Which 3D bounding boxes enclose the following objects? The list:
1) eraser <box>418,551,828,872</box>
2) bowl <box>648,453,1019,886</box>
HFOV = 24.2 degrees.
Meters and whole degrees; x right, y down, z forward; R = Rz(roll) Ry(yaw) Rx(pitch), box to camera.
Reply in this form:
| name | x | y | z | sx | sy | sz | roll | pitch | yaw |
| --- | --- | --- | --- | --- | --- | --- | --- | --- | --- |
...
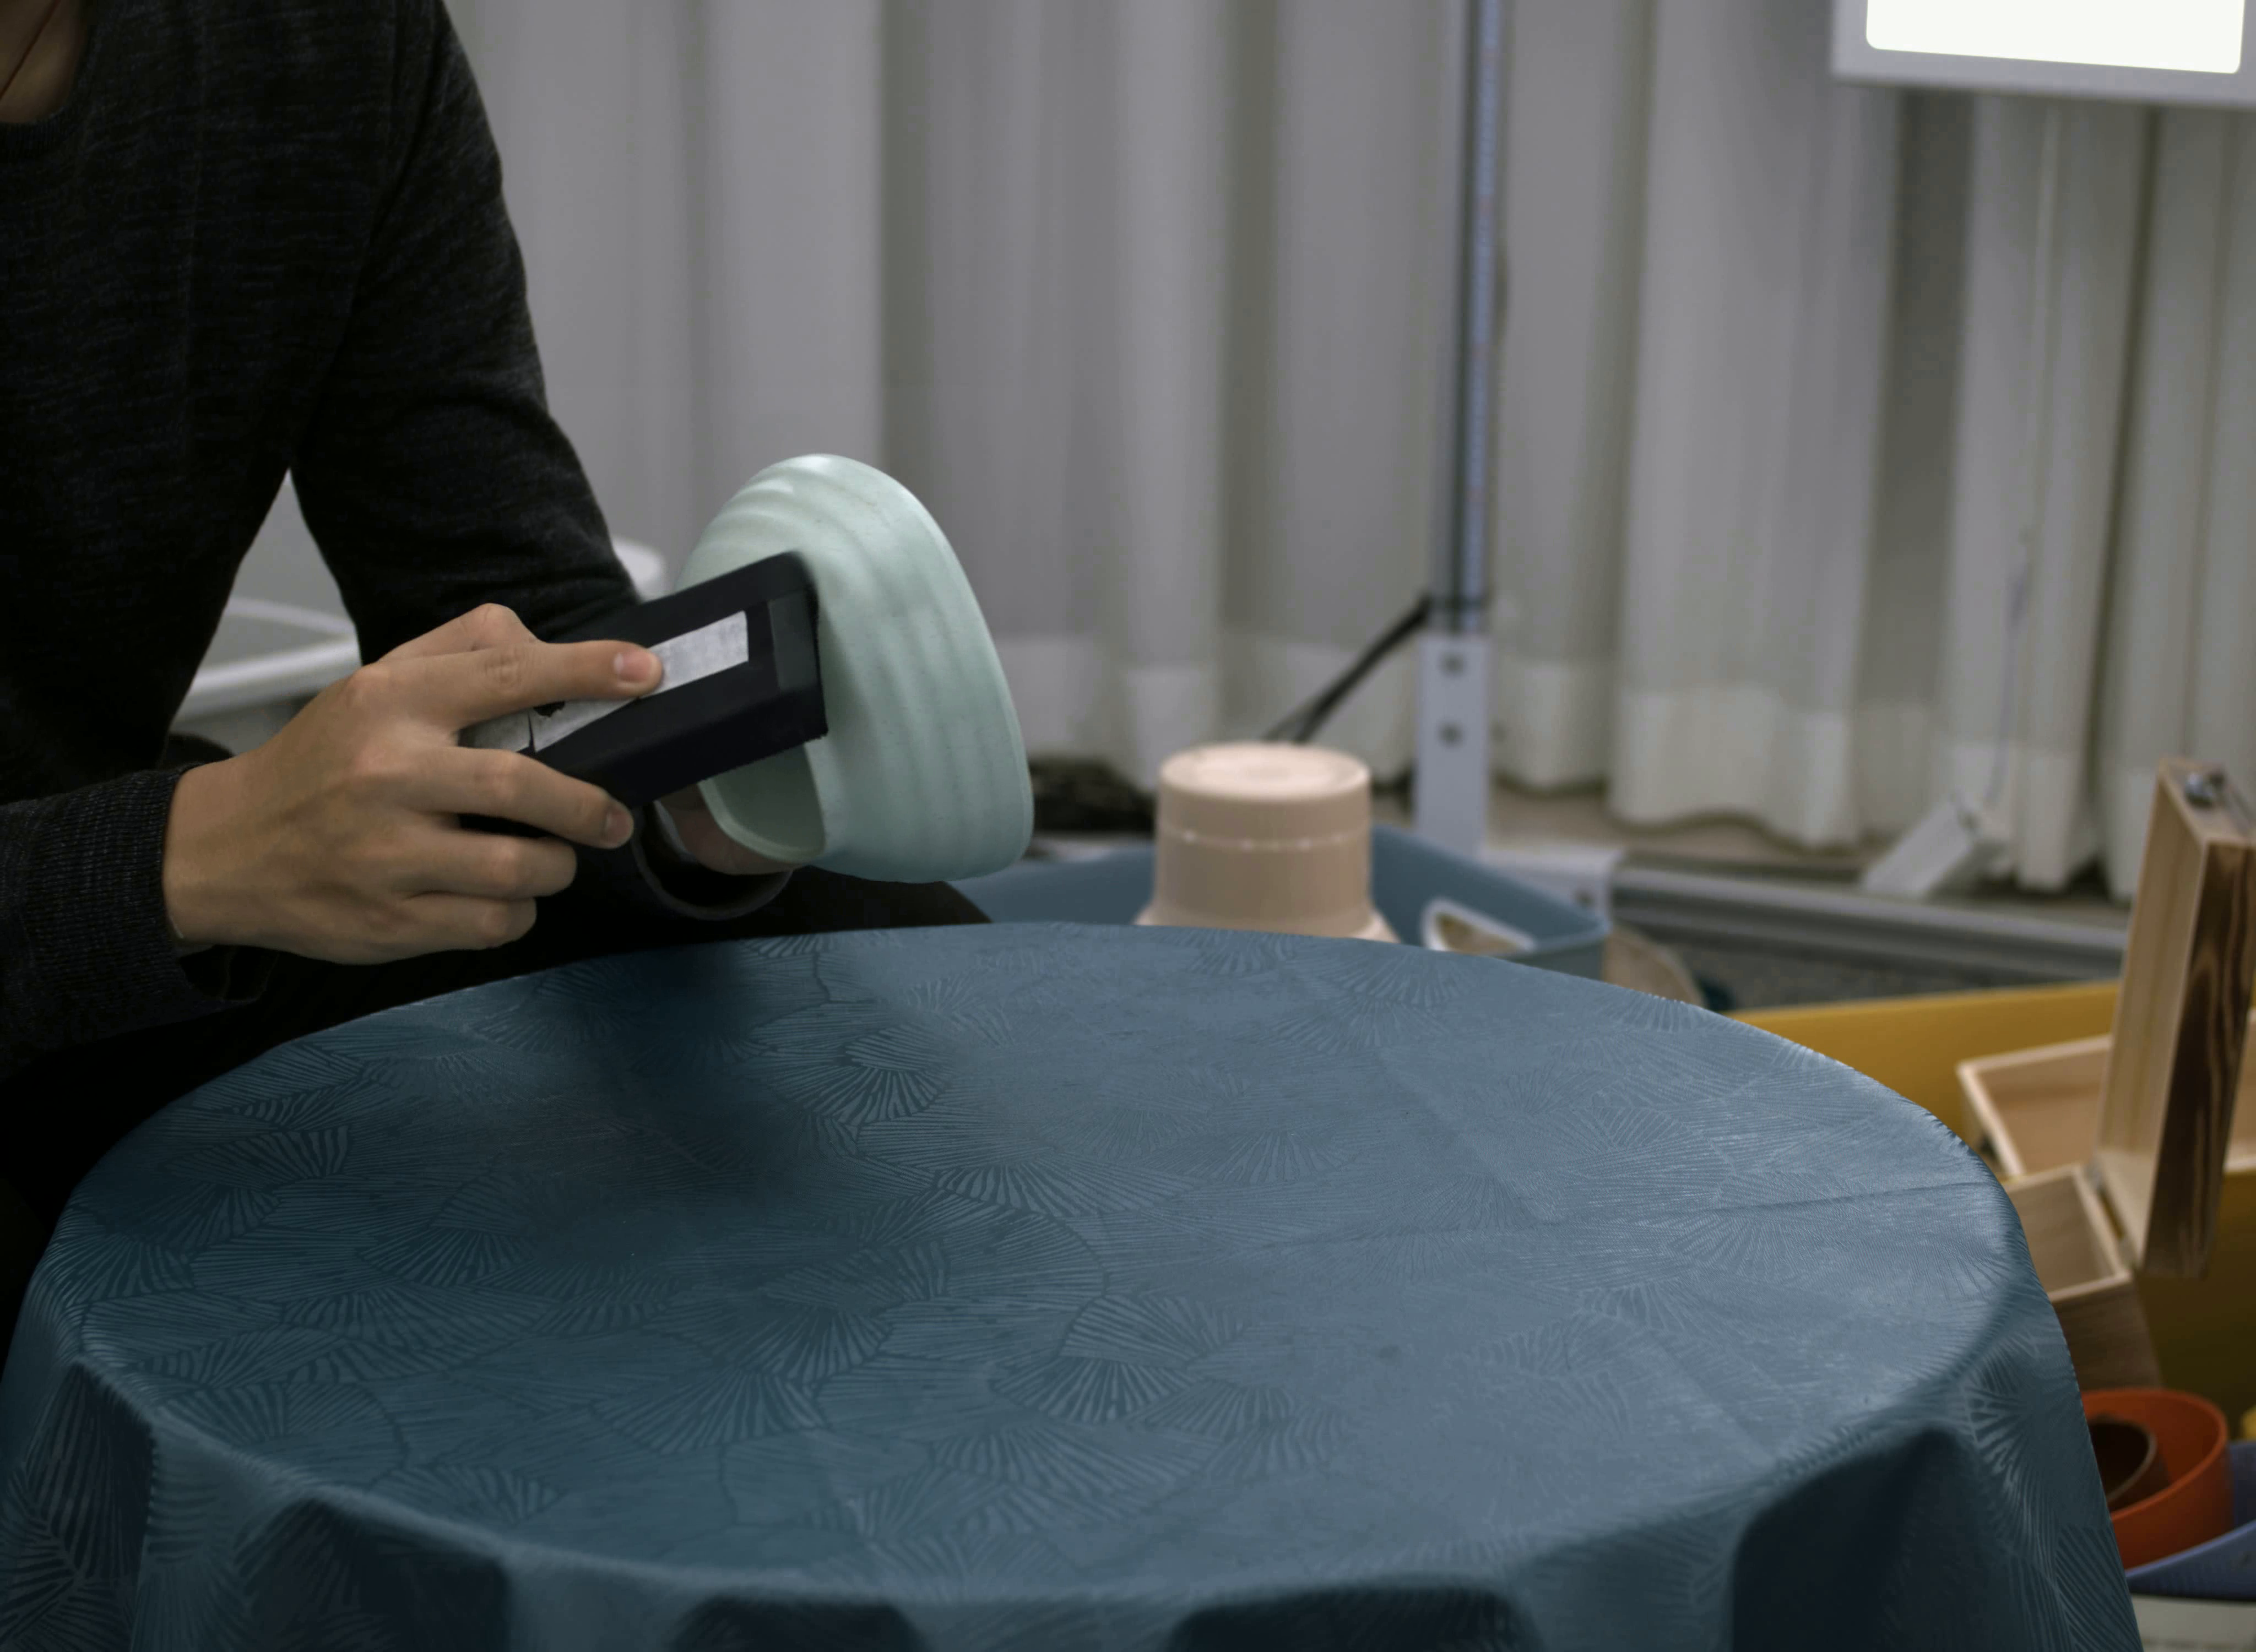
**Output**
| name | x | y | z | sx | sy | sz | roll | pitch | yaw |
| --- | --- | --- | --- | --- | --- | --- | --- | --- | --- |
| eraser | -0.147 | -0.034 | 1.532 | 0.125 | 0.053 | 0.031 | -22 | -34 | 18 |
| bowl | -0.098 | -0.038 | 1.592 | 0.059 | 0.153 | 0.149 | -26 | 27 | -26 |
